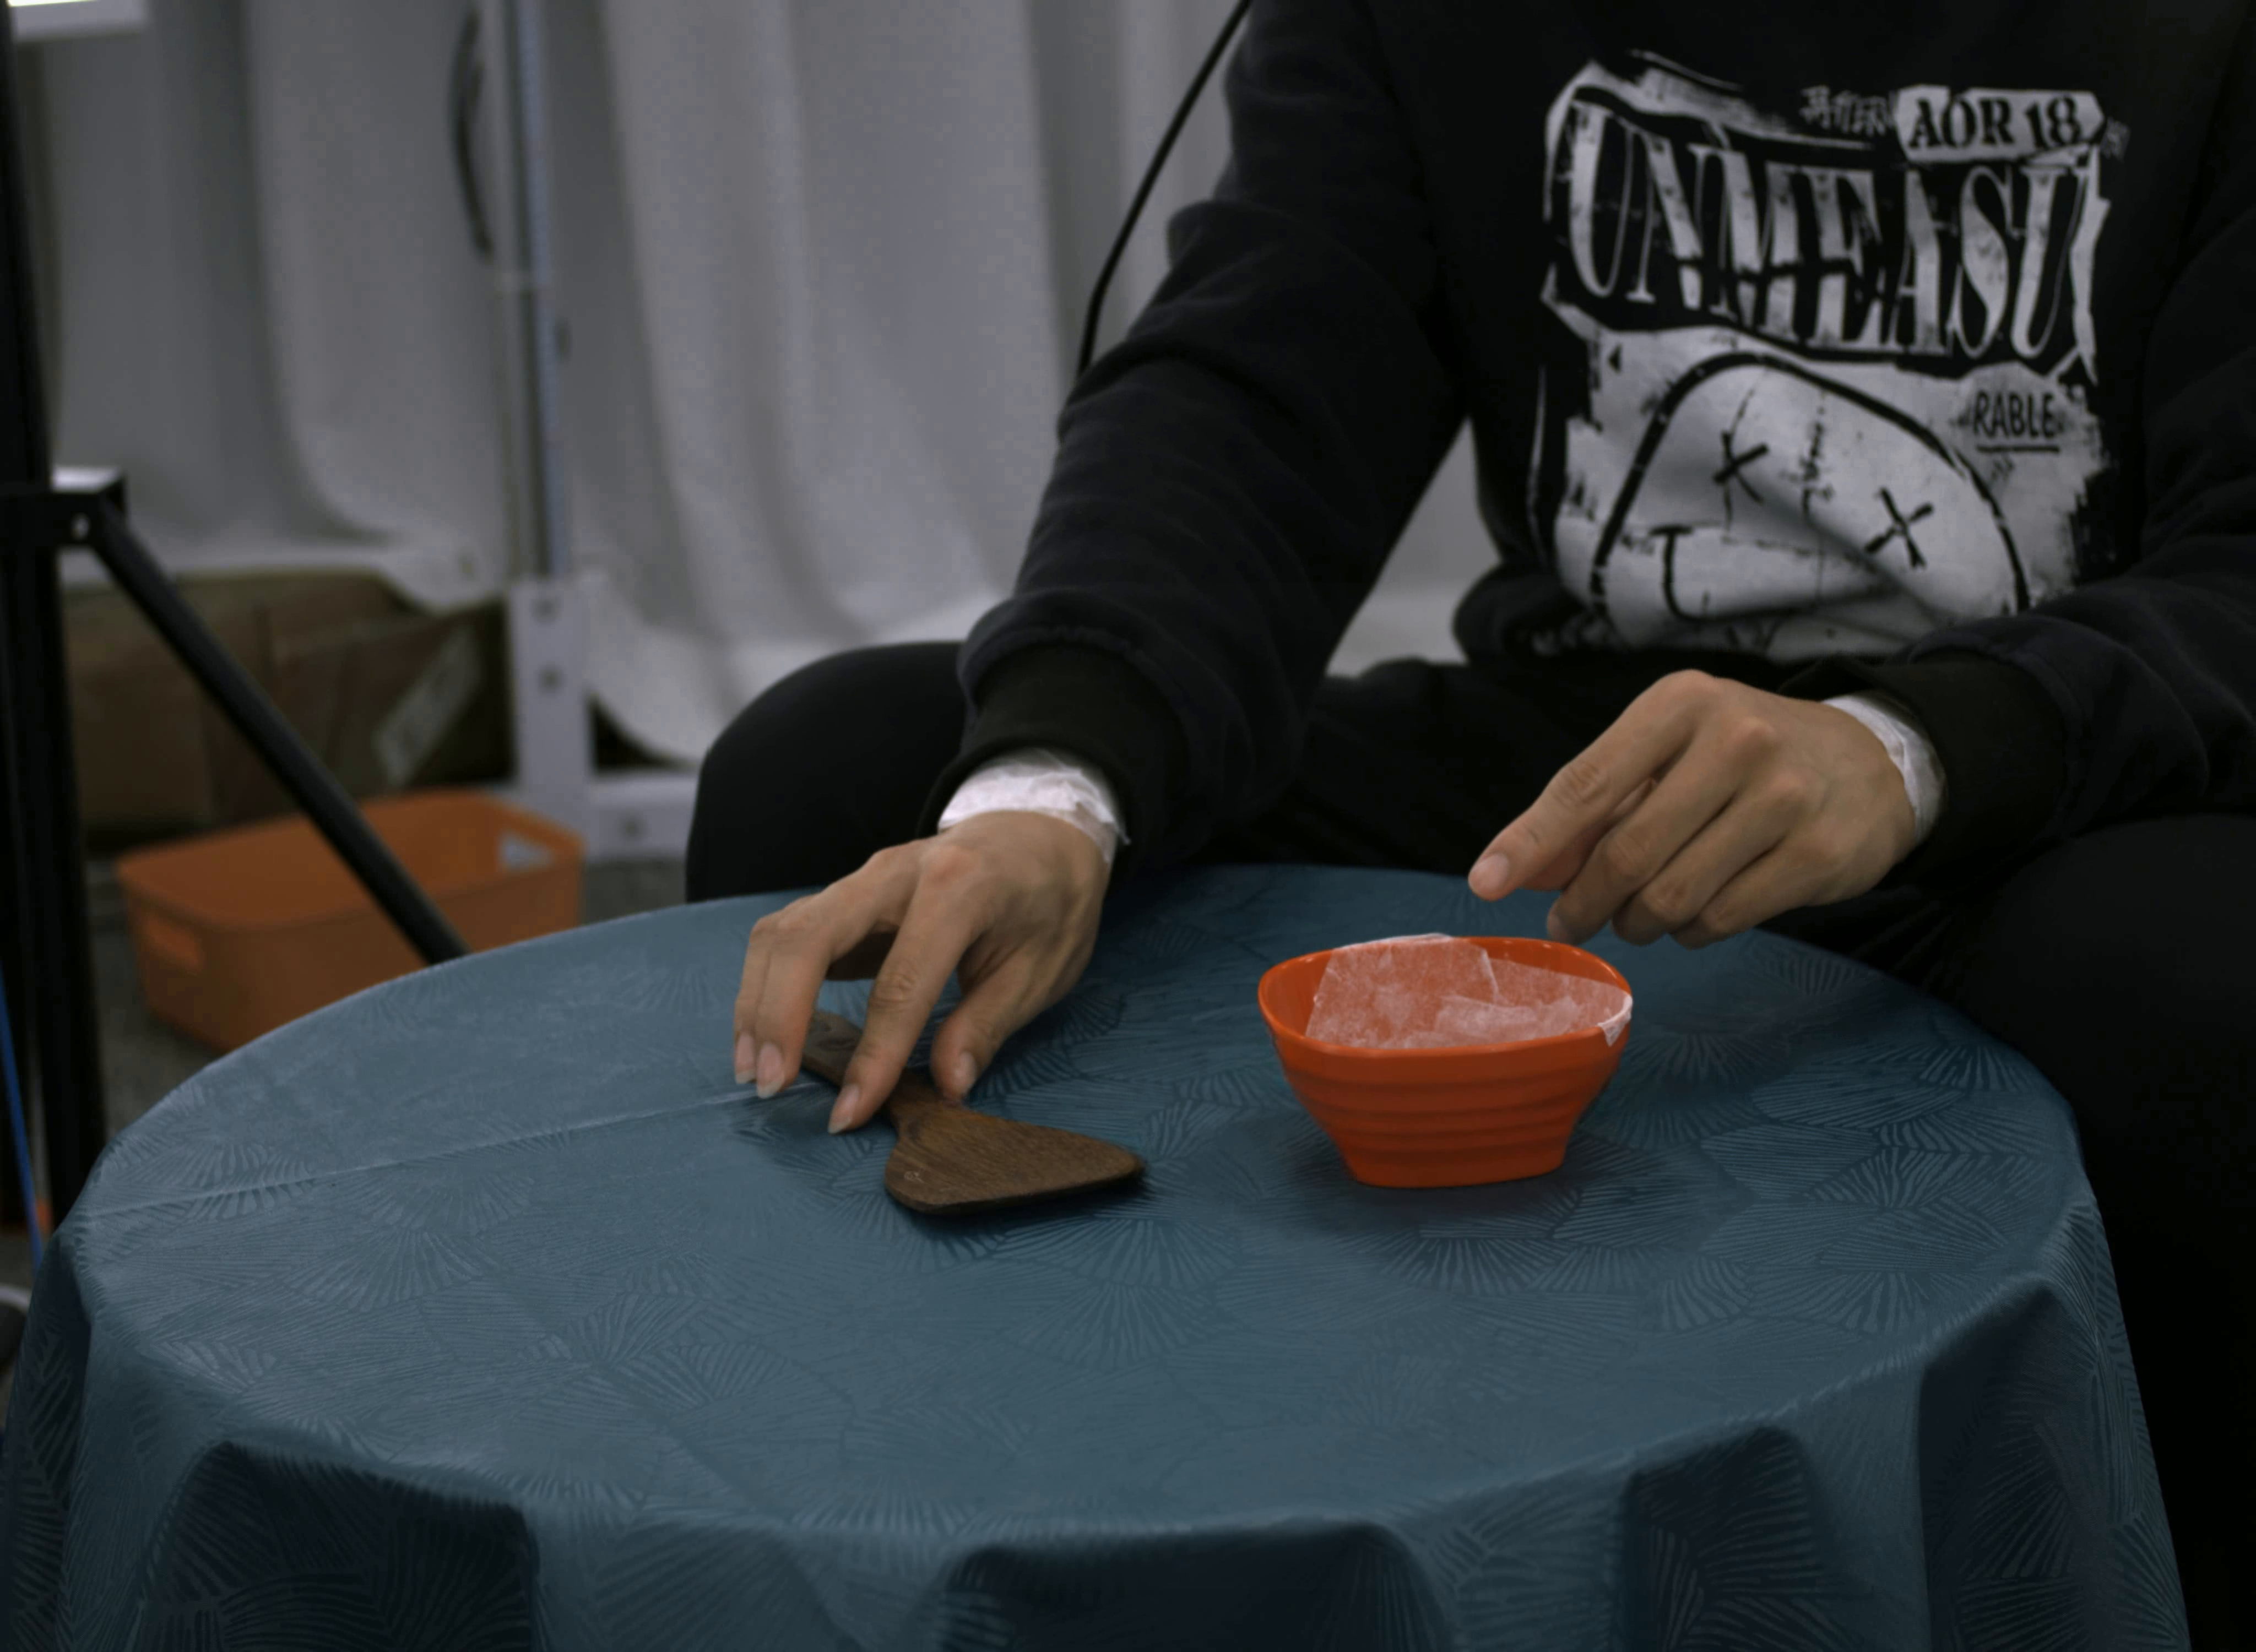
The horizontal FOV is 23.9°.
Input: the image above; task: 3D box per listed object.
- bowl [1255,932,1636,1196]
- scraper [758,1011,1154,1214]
[{"bbox_3d":[0.095,0.073,1.574,0.118,0.051,0.119,-4,17,0],"label":"bowl"},{"bbox_3d":[-0.065,0.086,1.631,0.074,0.011,0.215,-8,16,-23],"label":"scraper"}]
